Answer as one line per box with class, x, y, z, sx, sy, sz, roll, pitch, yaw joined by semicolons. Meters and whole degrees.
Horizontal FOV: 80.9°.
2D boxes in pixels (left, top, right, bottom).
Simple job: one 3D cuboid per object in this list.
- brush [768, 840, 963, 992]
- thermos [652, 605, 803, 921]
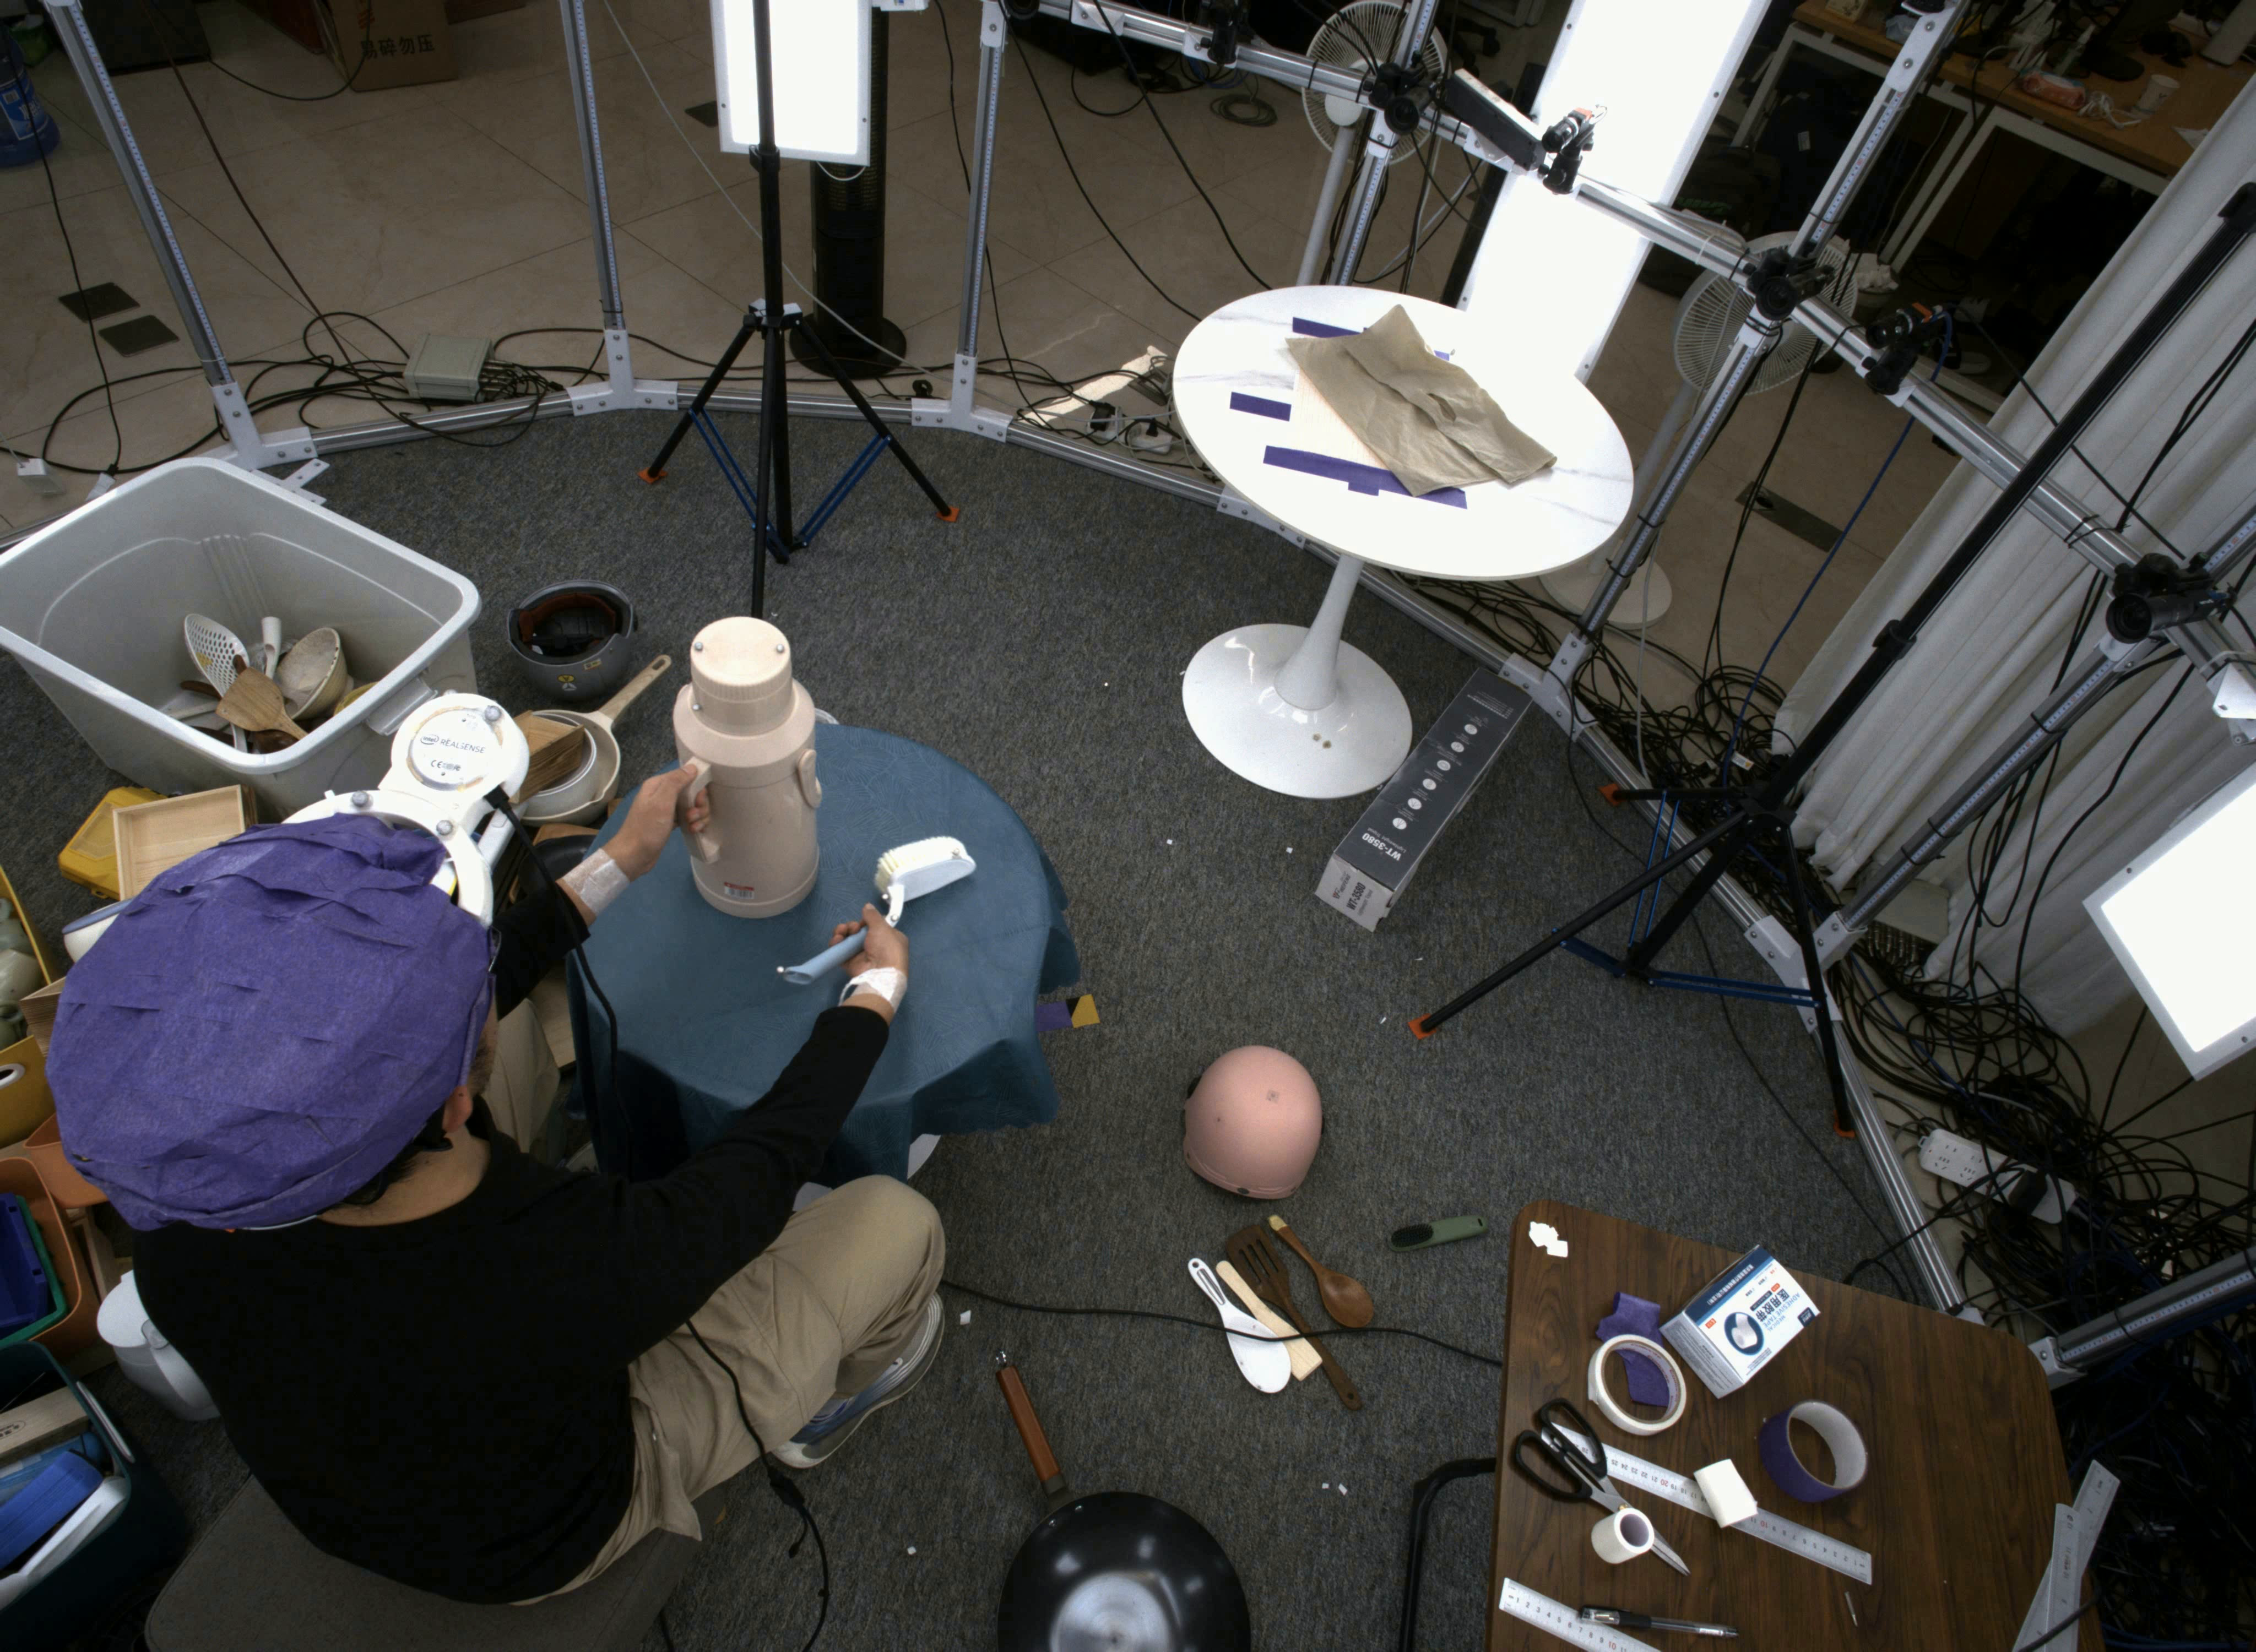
brush;-0.334;0.093;1.598;0.081;0.085;0.326;4;26;38
thermos;-0.472;-0.061;1.494;0.173;0.414;0.206;25;51;6
